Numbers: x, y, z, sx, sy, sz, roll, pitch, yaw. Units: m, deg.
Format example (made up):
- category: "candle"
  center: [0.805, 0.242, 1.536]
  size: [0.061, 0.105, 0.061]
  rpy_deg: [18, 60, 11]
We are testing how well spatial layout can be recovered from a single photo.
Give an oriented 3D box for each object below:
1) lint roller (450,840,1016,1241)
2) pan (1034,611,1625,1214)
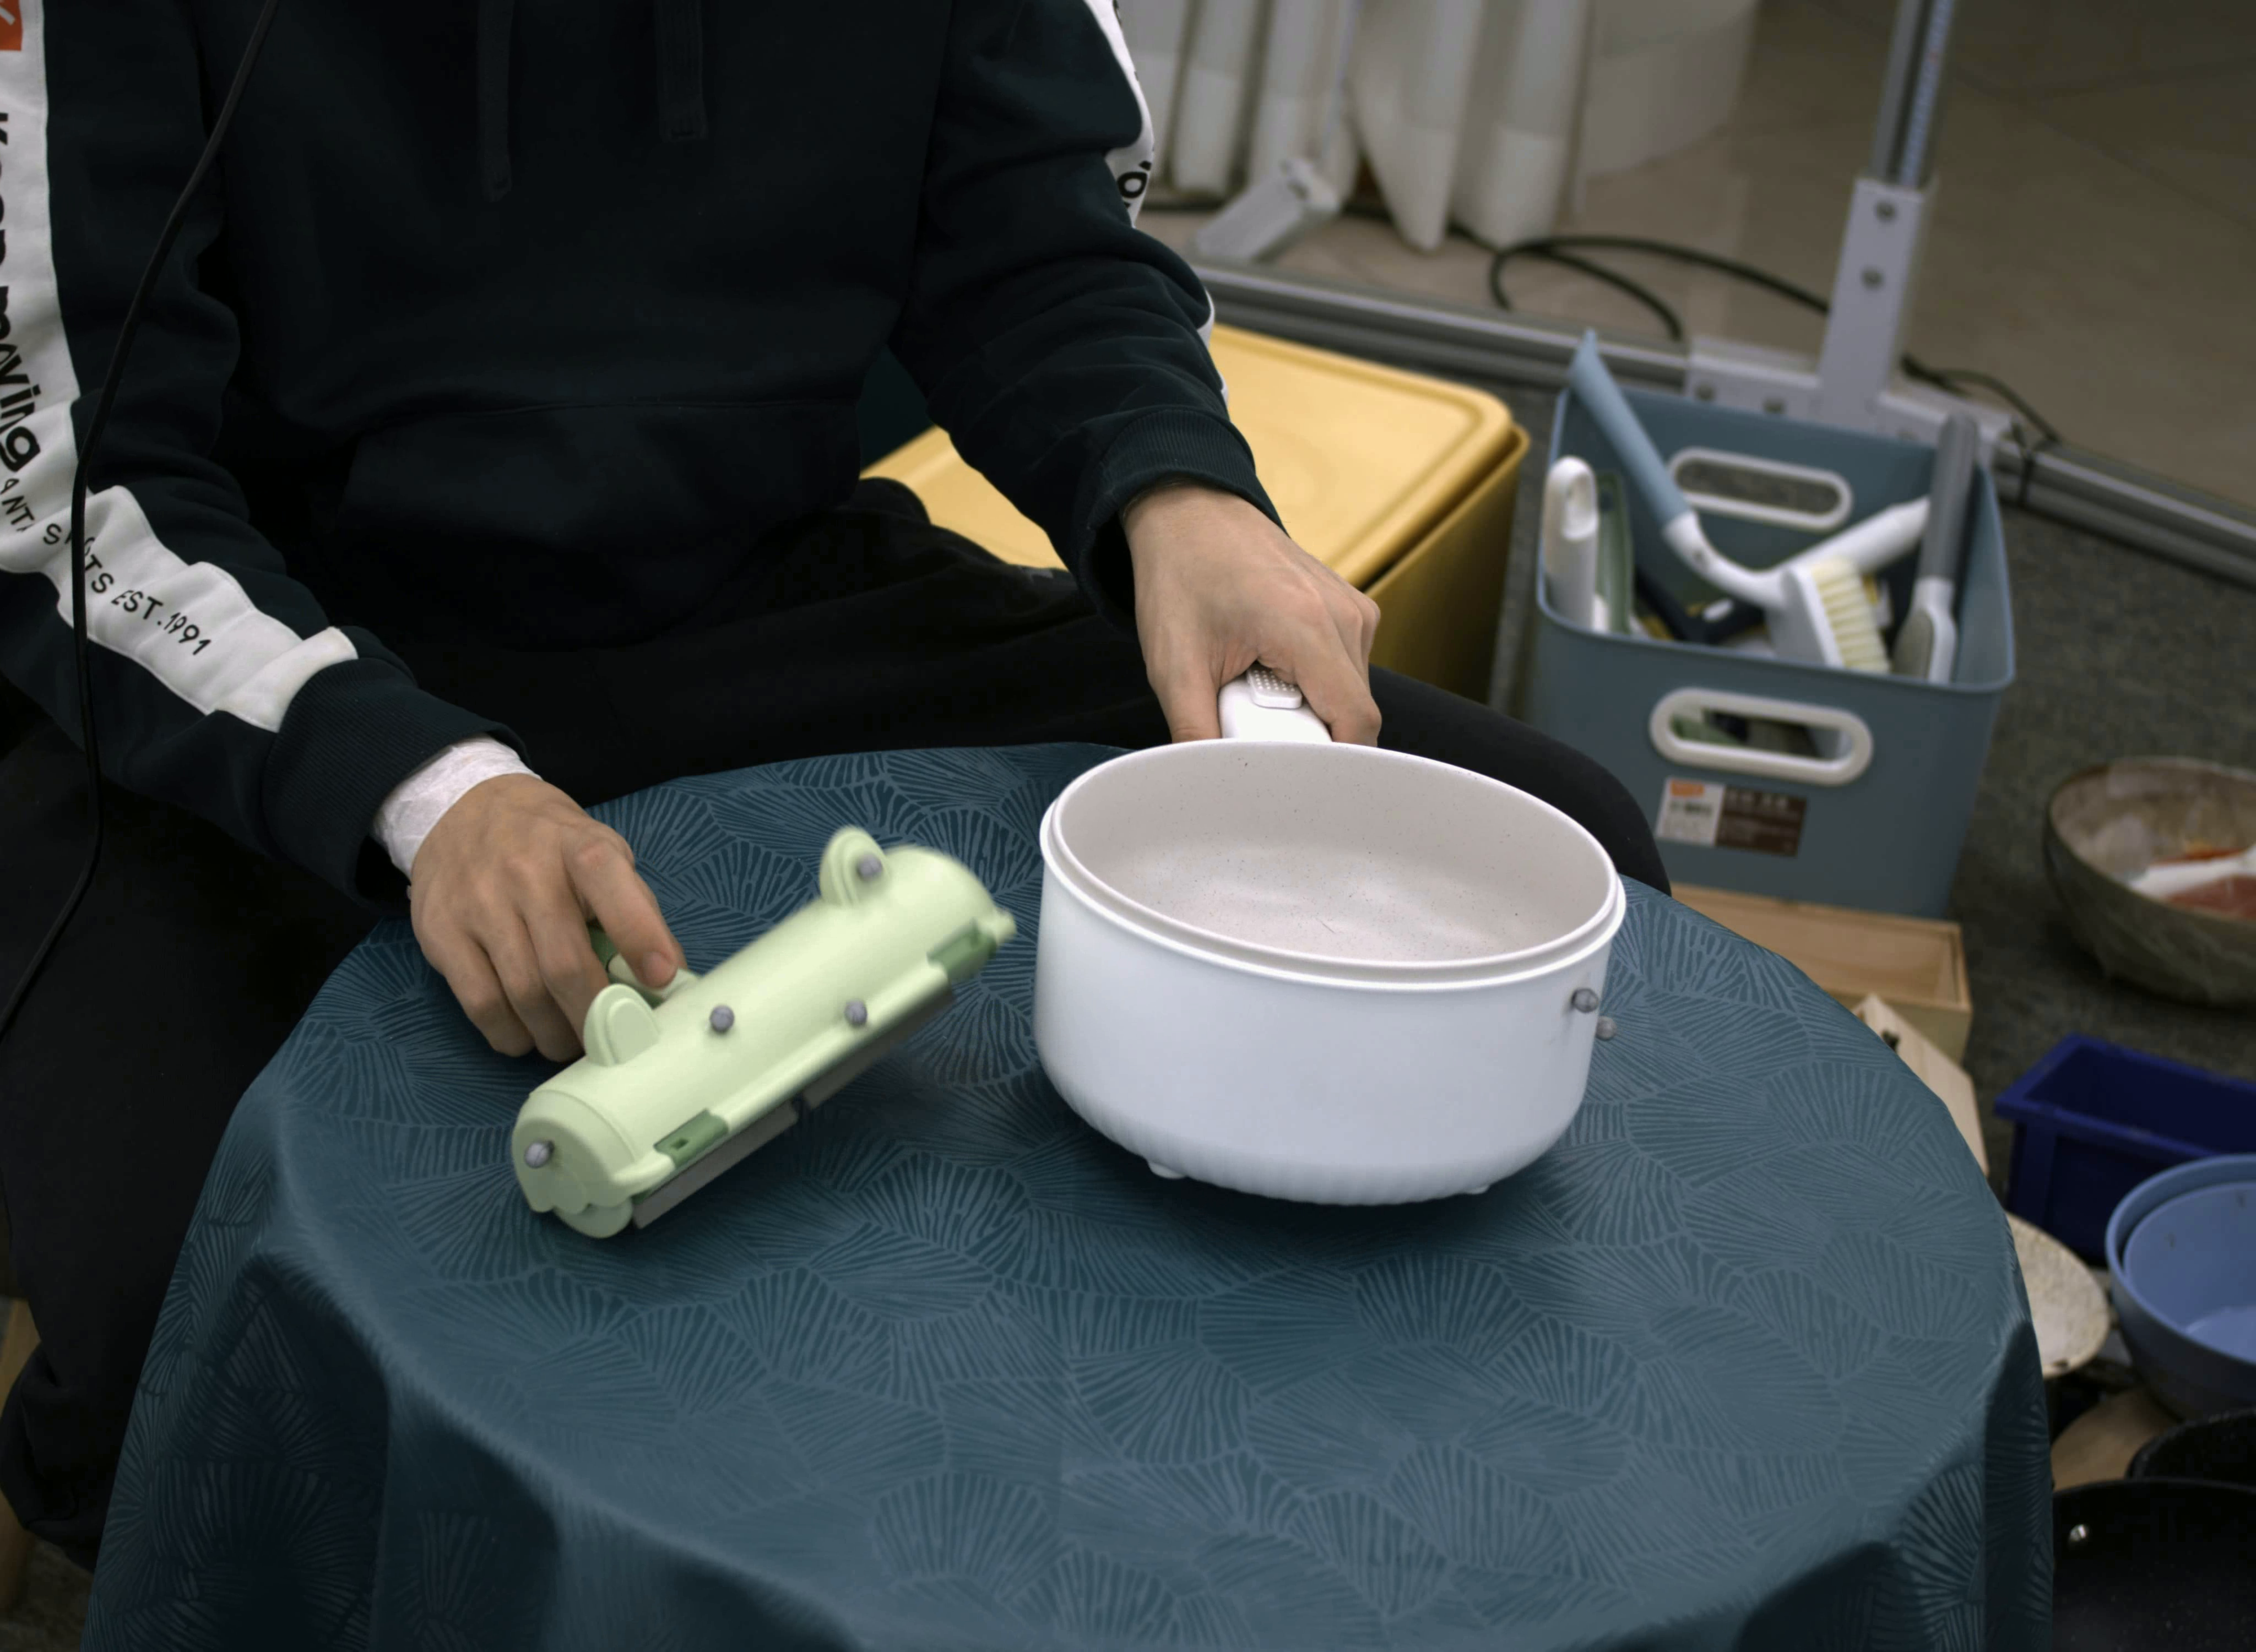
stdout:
- category: "lint roller"
  center: [-0.166, 0.047, 1.812]
  size: [0.184, 0.082, 0.198]
  rpy_deg: [26, 41, 32]
- category: "pan"
  center: [0.058, 0.027, 1.900]
  size: [0.200, 0.102, 0.357]
  rpy_deg: [2, 22, -7]
